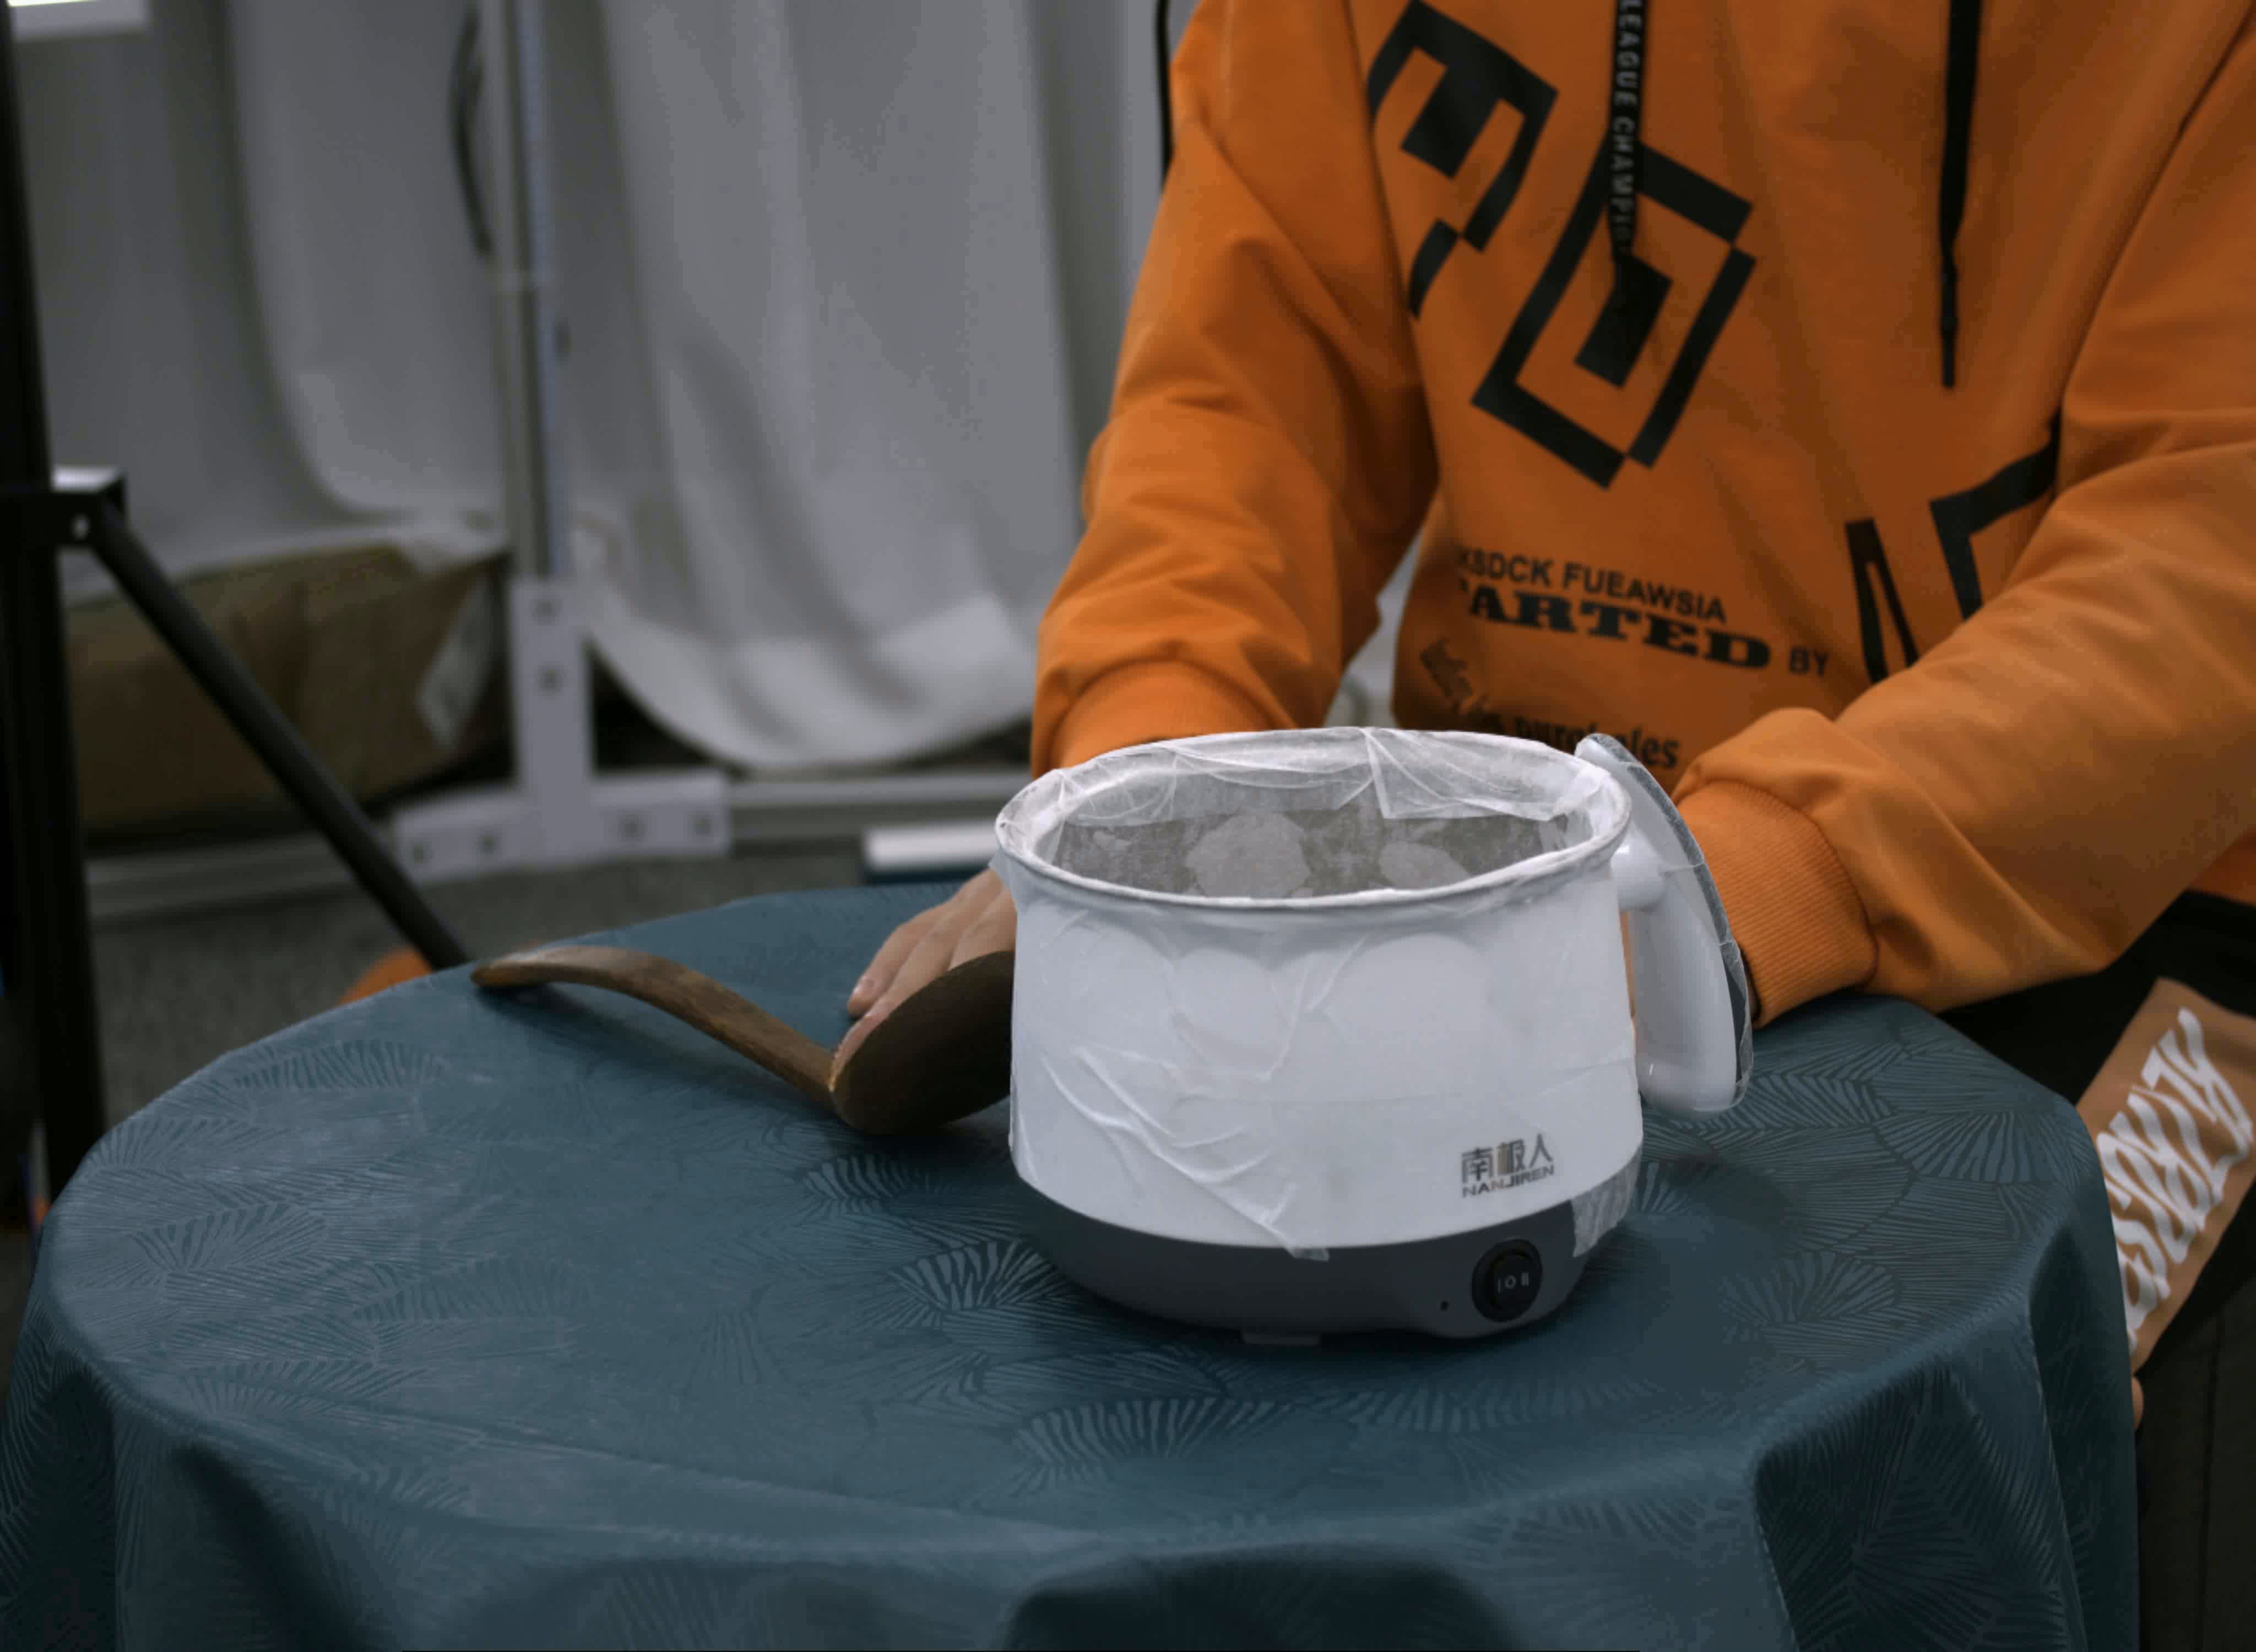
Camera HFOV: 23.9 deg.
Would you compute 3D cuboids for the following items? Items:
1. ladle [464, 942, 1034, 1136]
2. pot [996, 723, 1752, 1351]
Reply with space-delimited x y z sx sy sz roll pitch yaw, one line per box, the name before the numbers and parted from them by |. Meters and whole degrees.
ladle | -0.125 0.044 1.677 0.074 0.071 0.280 -10 17 -38
pot | 0.077 0.052 1.492 0.228 0.136 0.183 -12 19 -31
